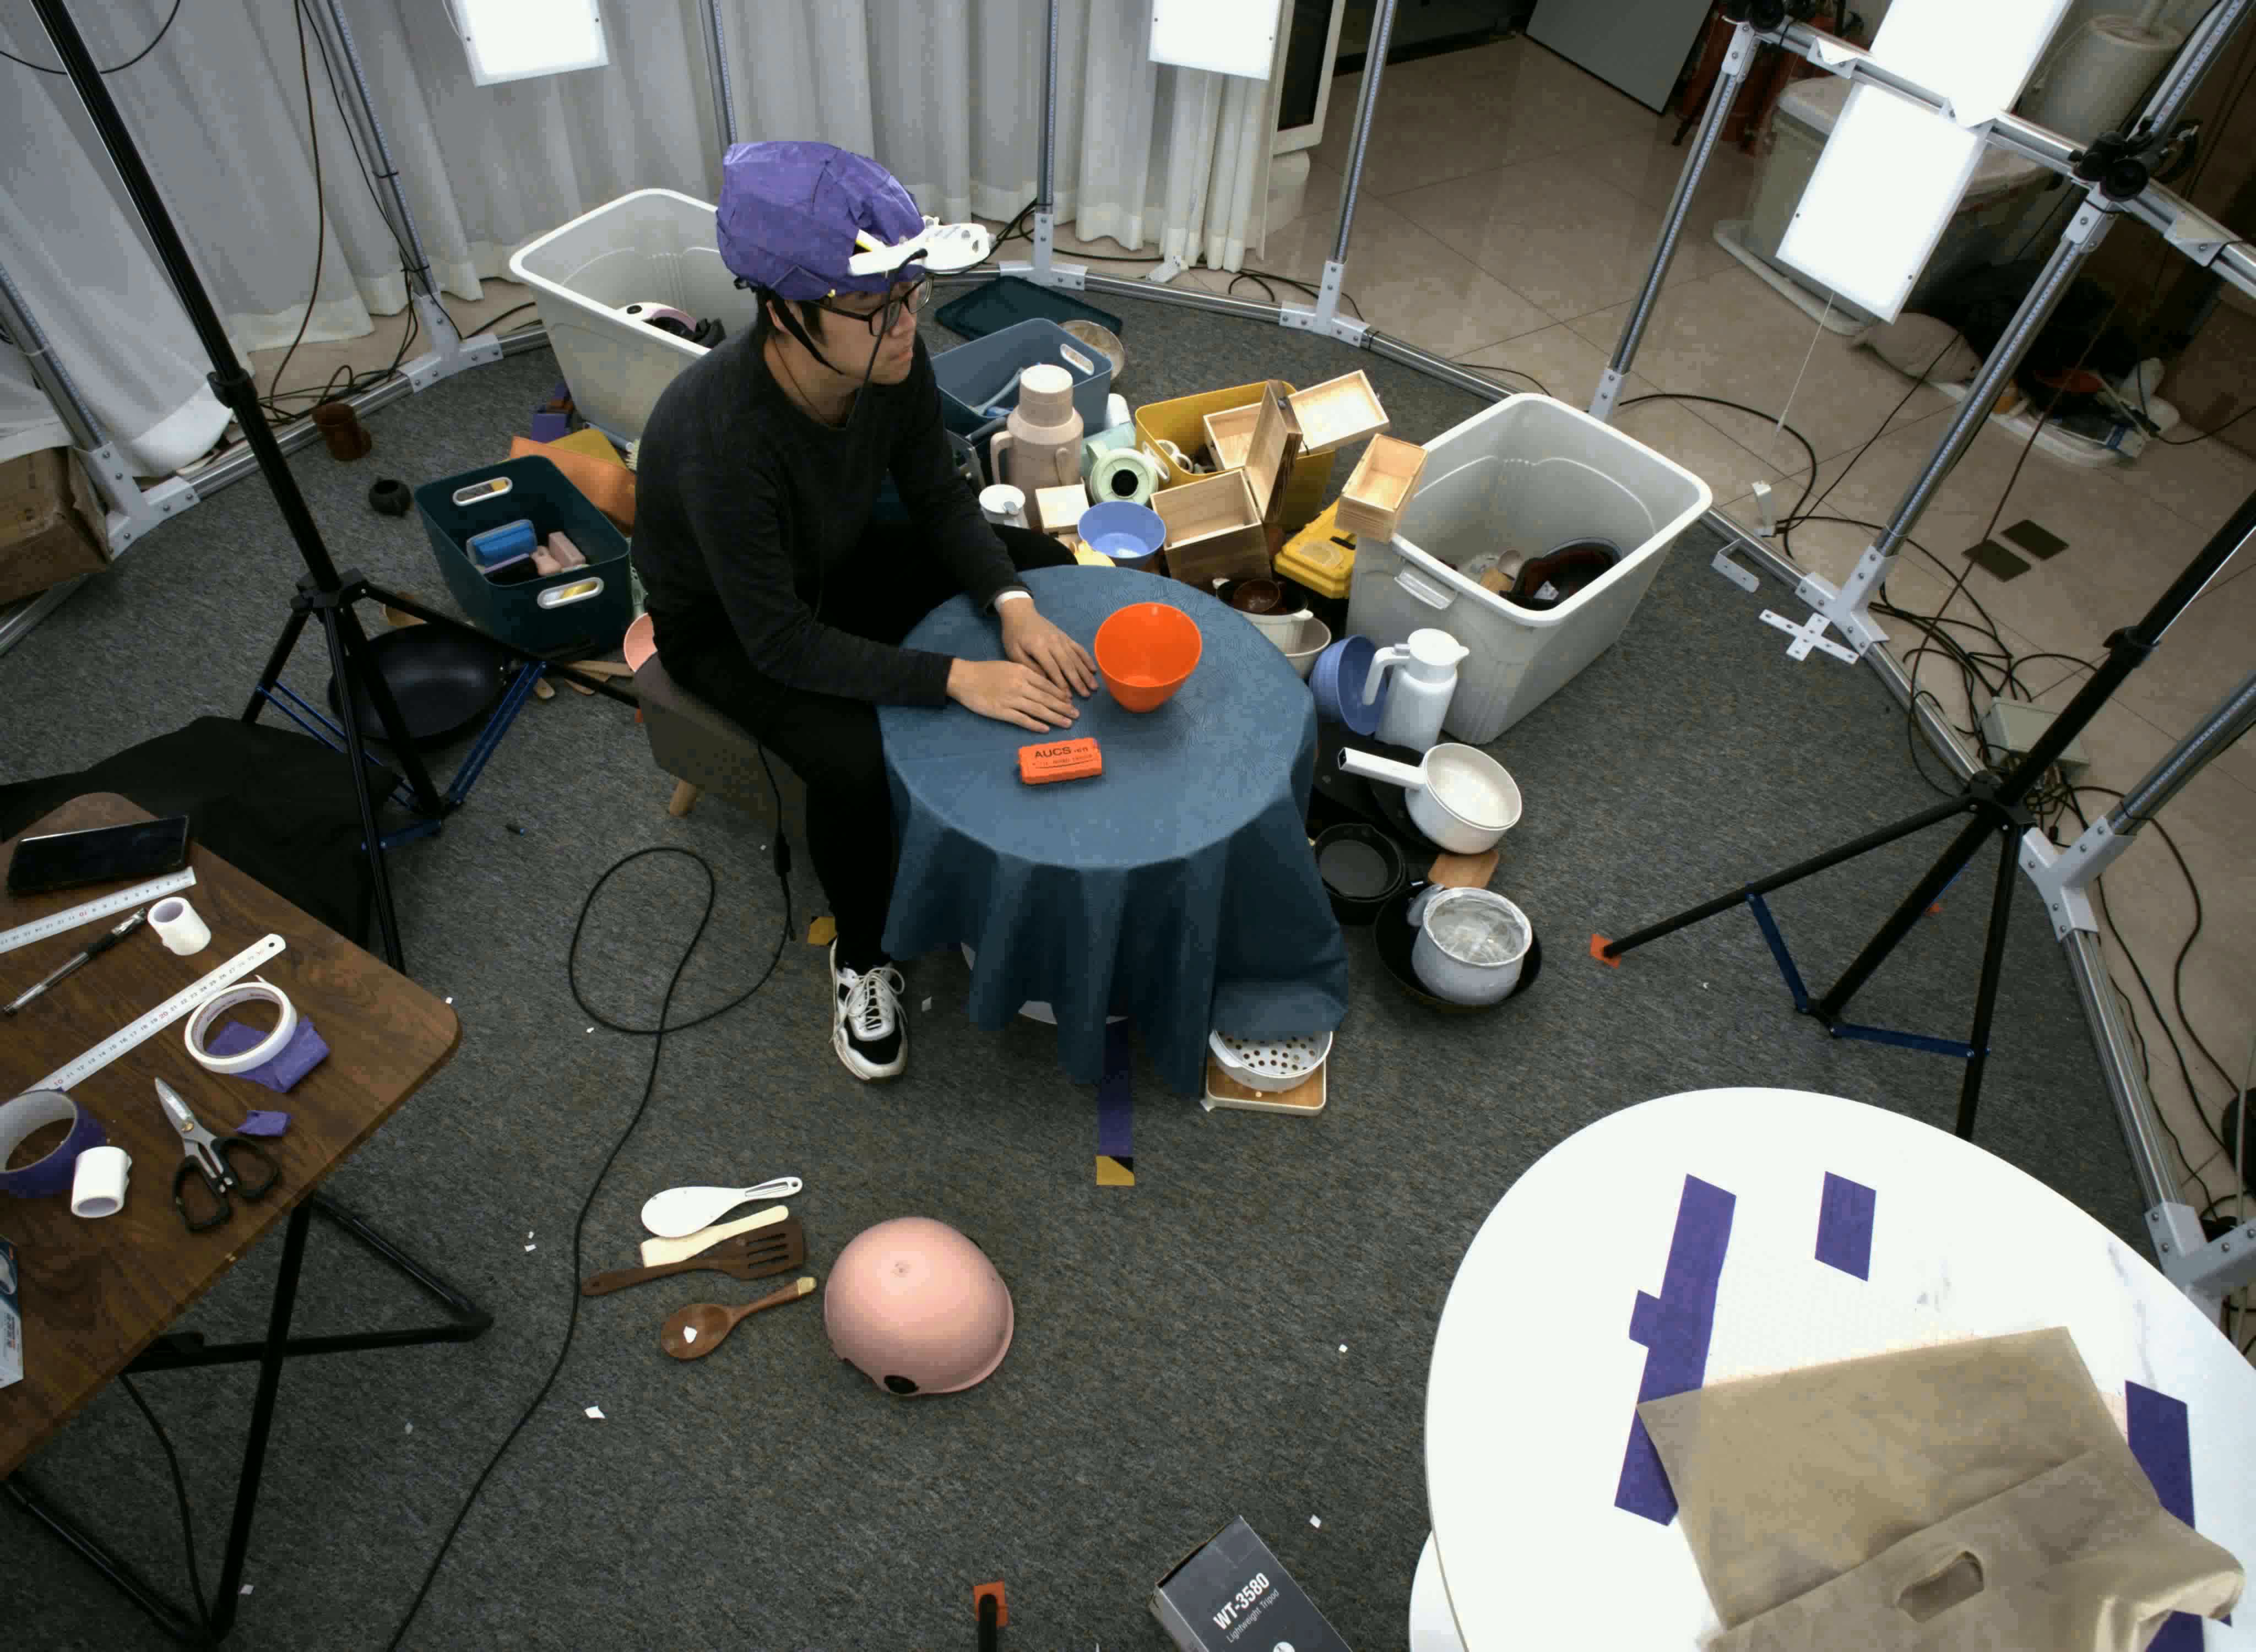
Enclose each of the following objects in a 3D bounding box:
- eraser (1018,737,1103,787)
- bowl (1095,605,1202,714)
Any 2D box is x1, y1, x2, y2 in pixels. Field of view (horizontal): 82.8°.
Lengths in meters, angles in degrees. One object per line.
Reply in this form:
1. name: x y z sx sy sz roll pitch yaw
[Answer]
1. eraser: -0.091 -0.087 1.720 0.108 0.022 0.060 -8 52 -13
2. bowl: 0.026 -0.224 1.801 0.148 0.102 0.152 2 49 -3
